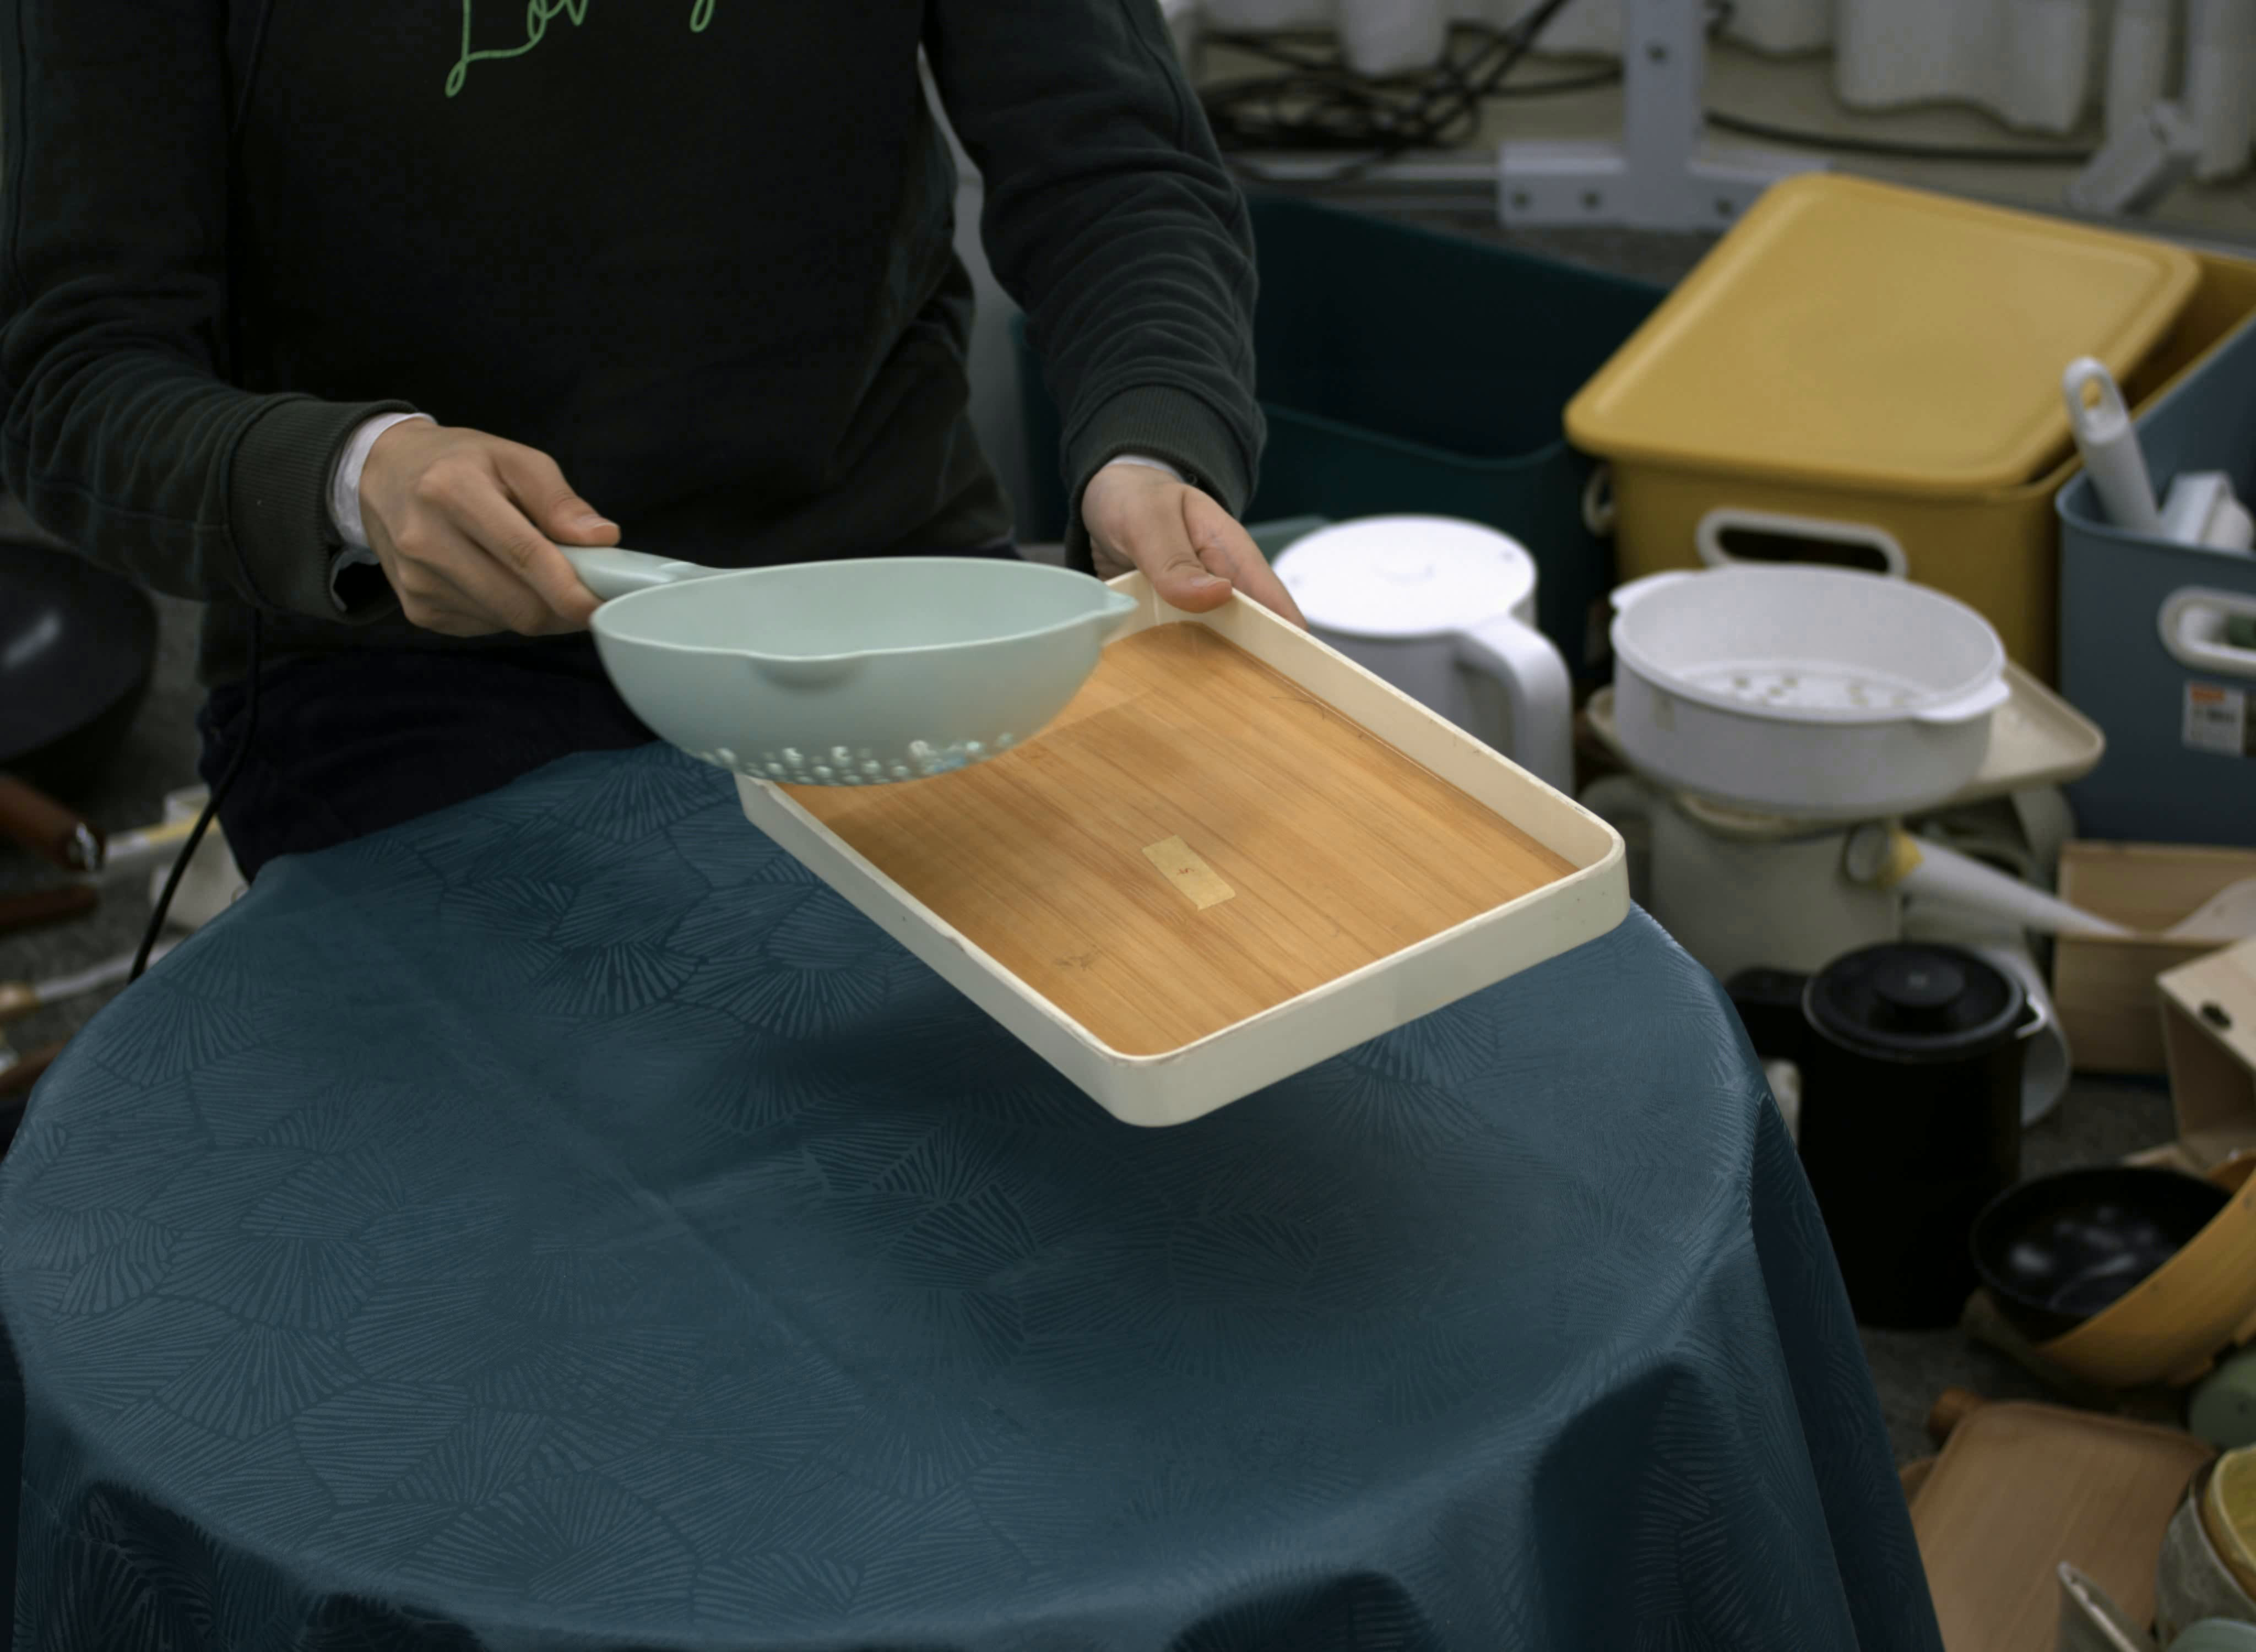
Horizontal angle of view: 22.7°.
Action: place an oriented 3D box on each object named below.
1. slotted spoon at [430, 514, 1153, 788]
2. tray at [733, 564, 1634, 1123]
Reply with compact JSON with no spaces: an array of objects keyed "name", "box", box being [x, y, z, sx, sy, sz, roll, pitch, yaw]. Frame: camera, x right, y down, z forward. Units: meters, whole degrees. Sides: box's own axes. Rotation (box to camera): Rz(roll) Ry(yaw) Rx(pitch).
[{"name":"slotted spoon","box":[-0.142,-0.075,1.902,0.170,0.075,0.359,-8,21,-36]},{"name":"tray","box":[0.013,0.000,1.853,0.193,0.027,0.301,-23,30,-21]}]
